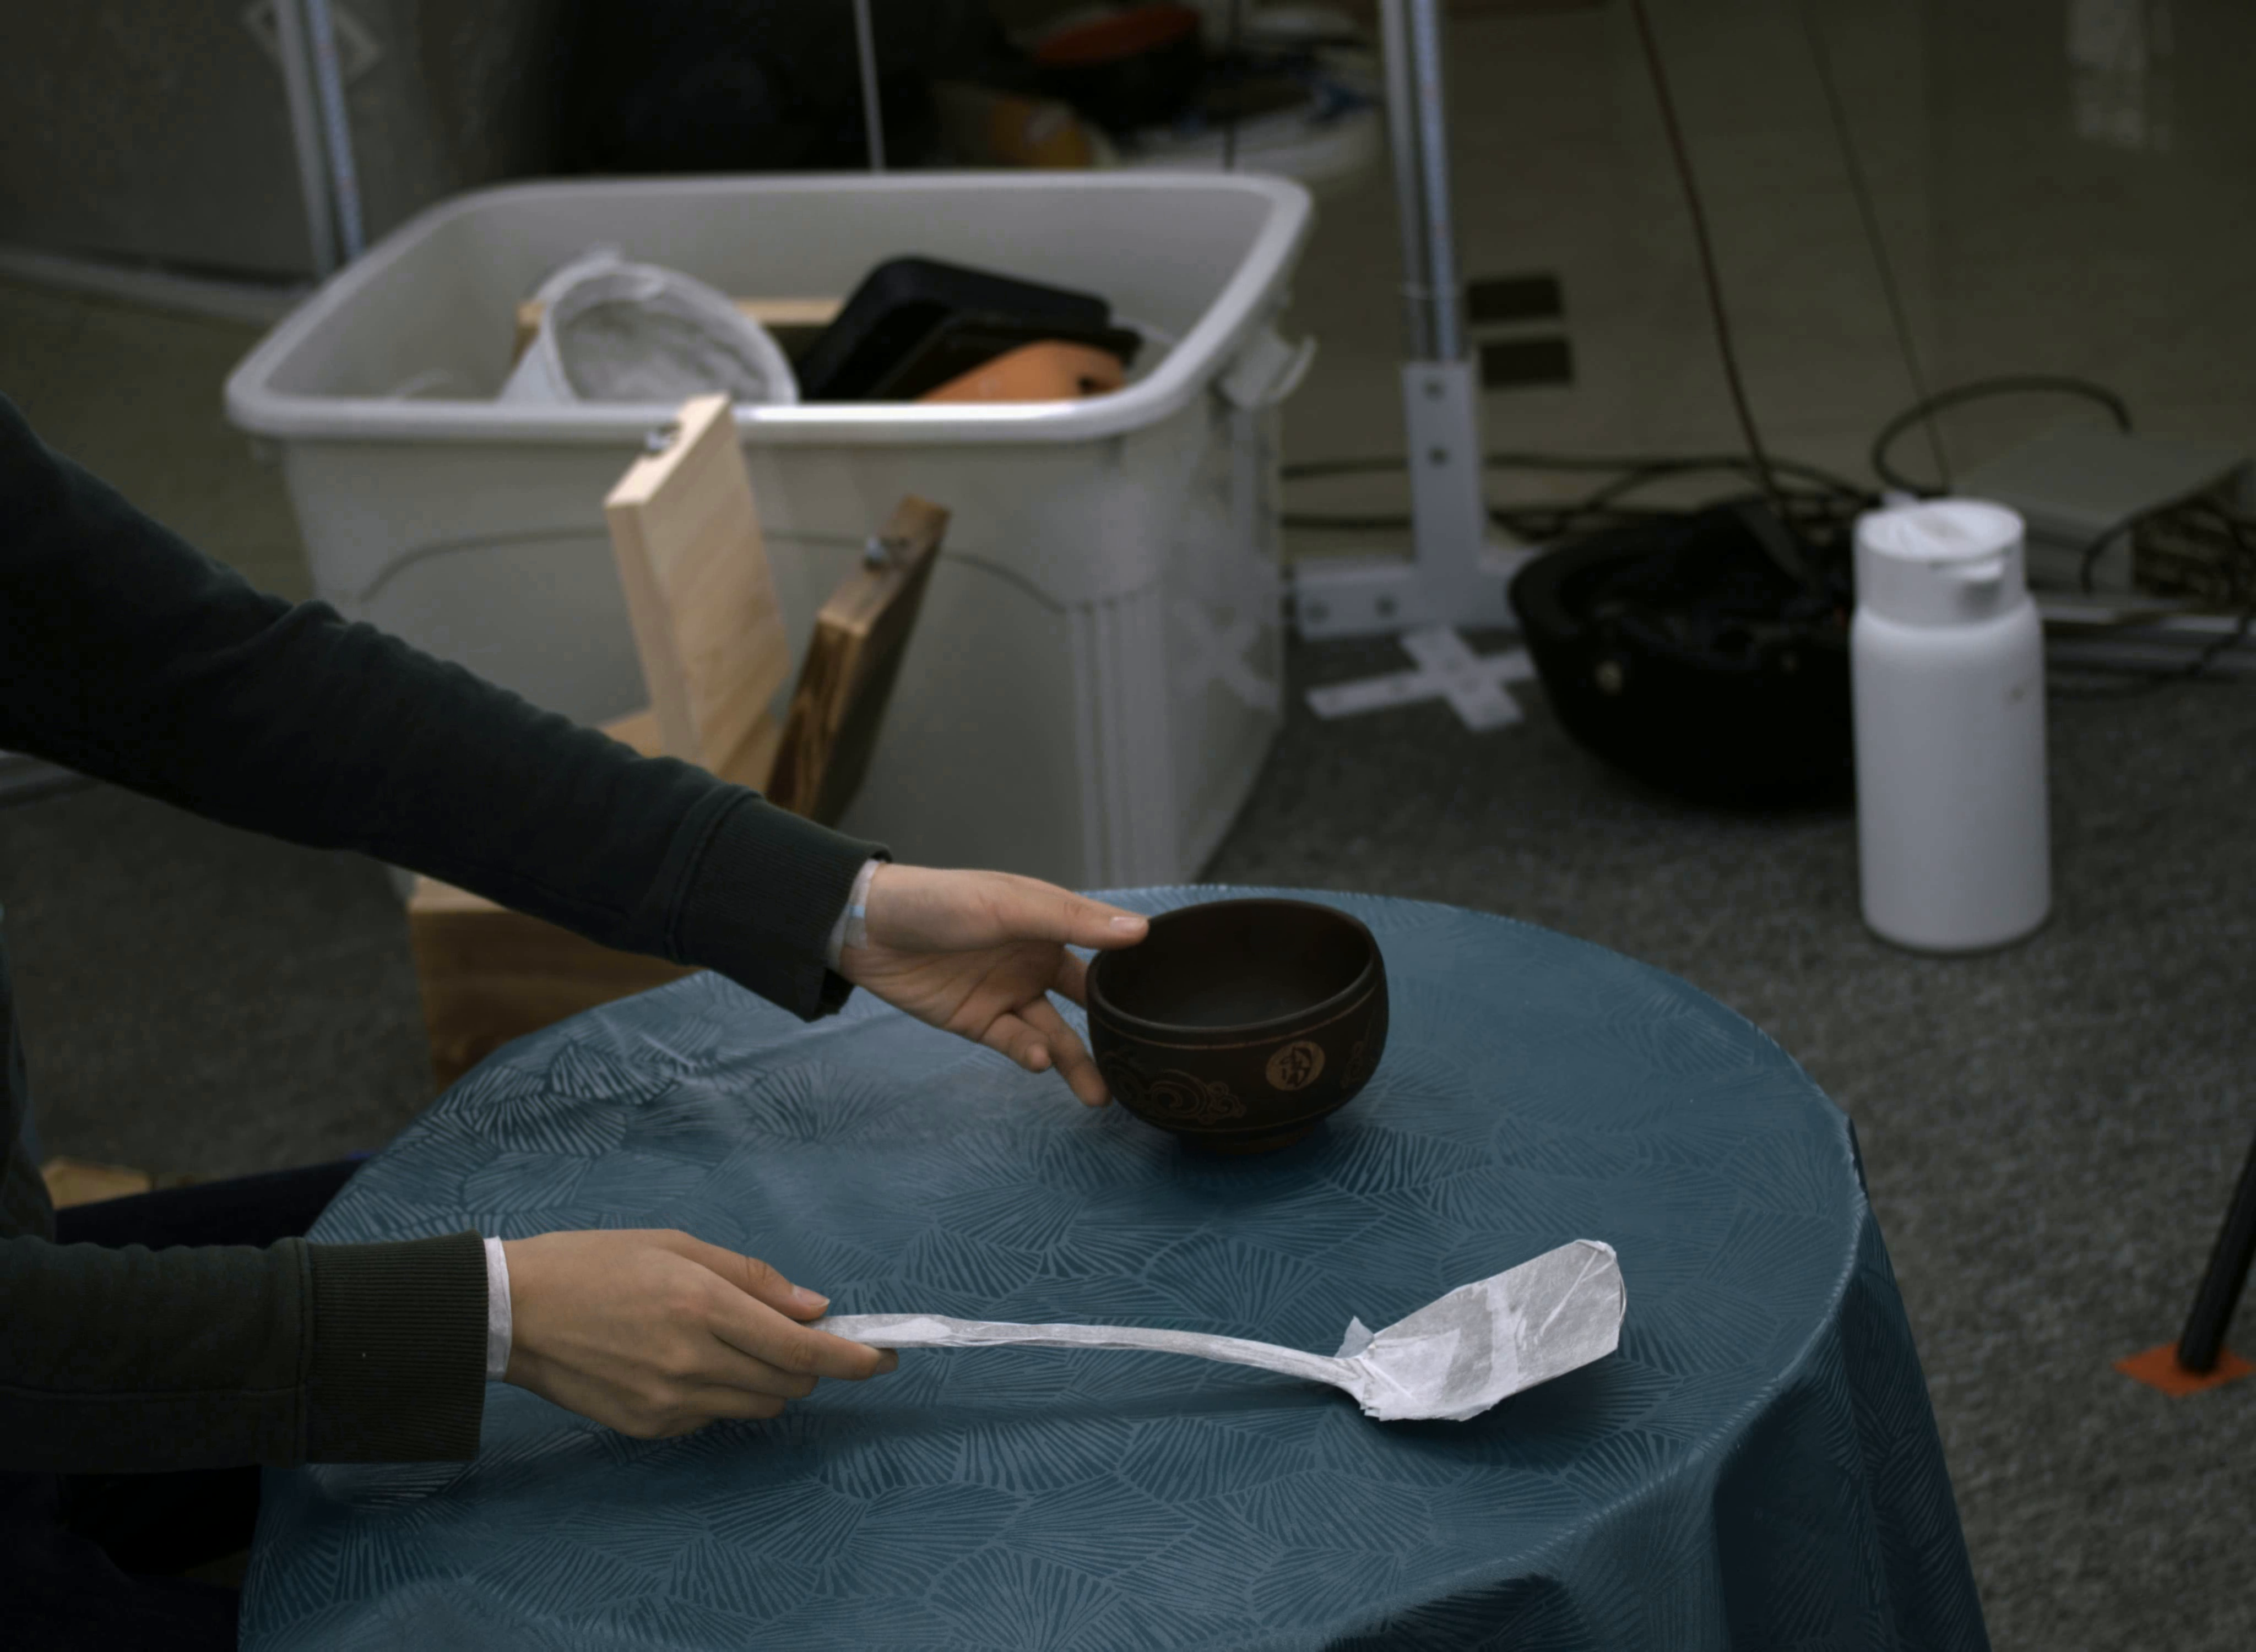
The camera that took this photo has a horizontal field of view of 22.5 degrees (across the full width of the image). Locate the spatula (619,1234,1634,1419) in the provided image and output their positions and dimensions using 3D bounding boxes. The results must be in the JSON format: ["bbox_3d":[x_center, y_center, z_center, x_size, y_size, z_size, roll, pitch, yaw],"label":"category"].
[{"bbox_3d":[-0.005,0.176,2.008,0.364,0.045,0.097,2,26,6],"label":"spatula"}]

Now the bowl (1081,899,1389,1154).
[{"bbox_3d":[0.043,0.083,2.178,0.118,0.071,0.116,-6,23,3],"label":"bowl"}]
